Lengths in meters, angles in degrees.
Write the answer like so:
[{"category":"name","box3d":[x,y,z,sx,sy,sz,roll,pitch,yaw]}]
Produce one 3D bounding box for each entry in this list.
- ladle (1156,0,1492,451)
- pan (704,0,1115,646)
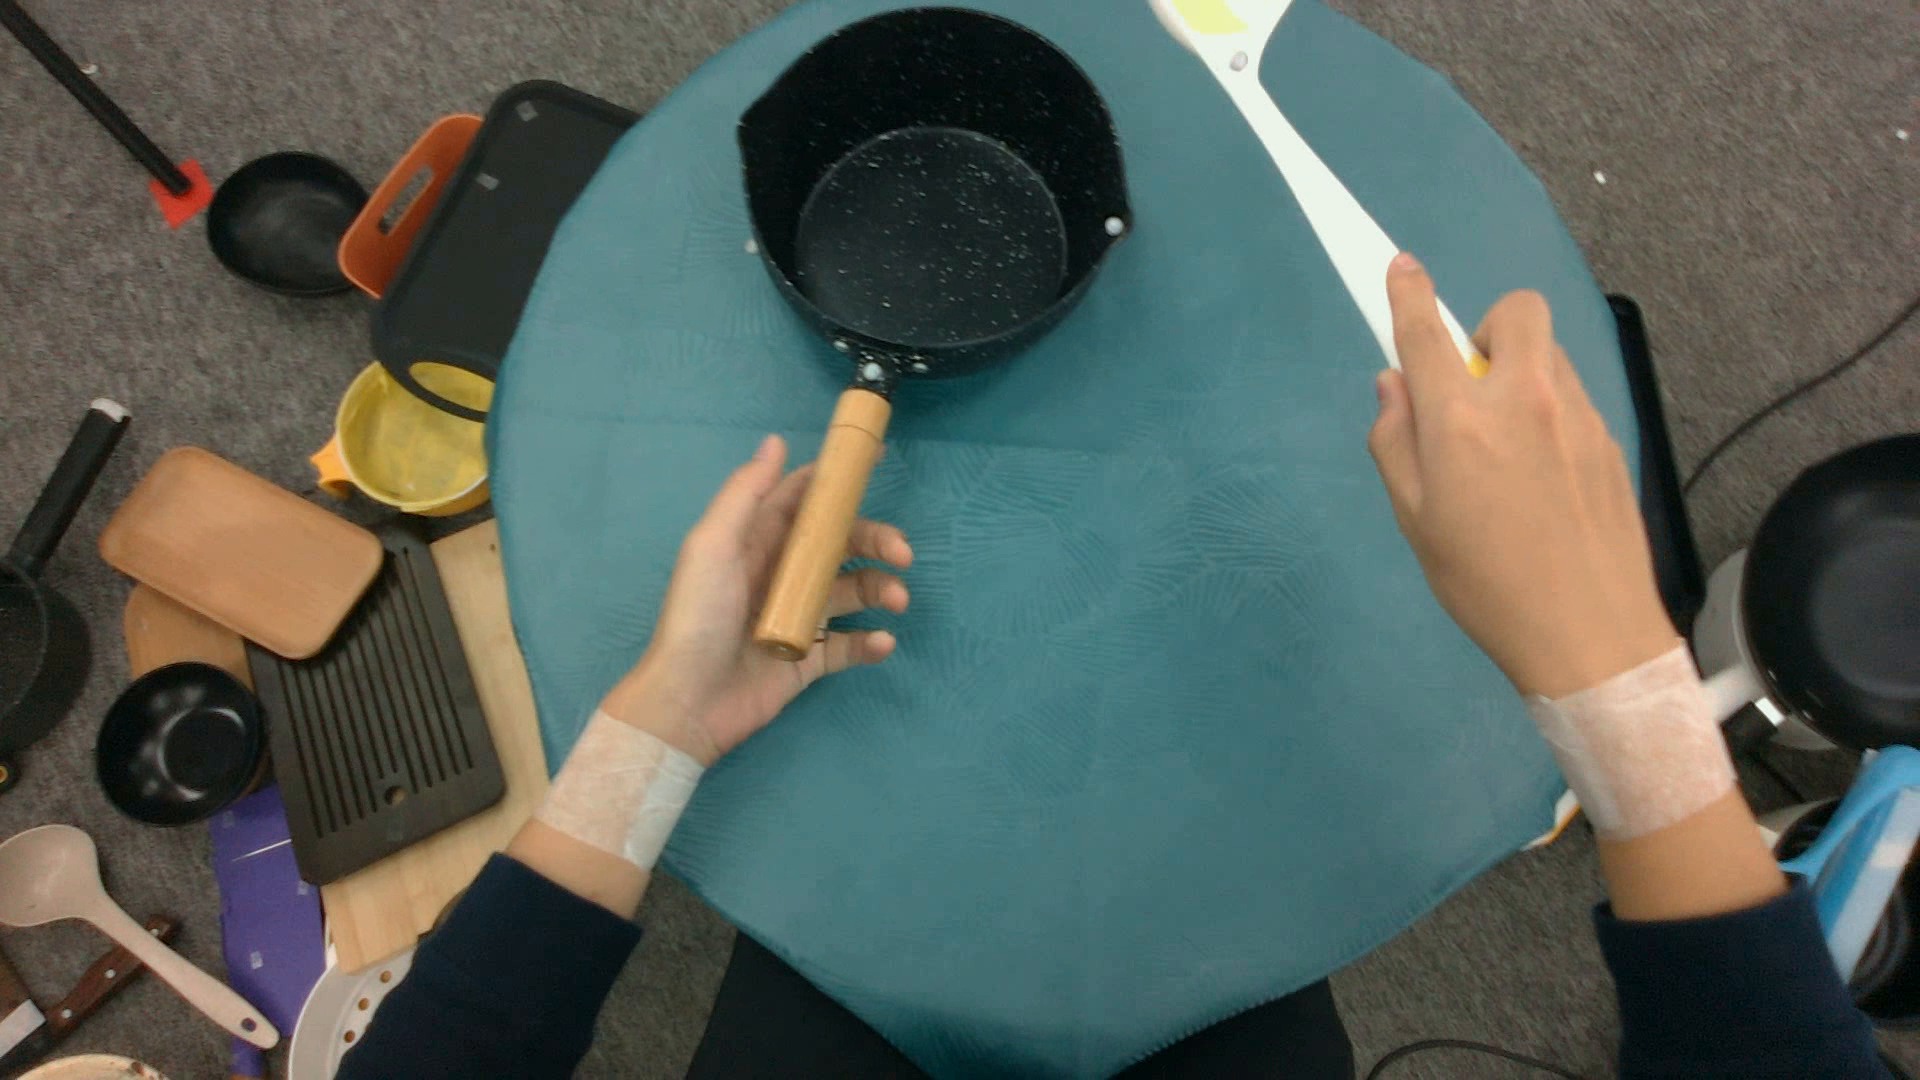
[{"category":"ladle","box3d":[0.151,-0.174,0.578,0.090,0.069,0.294,-2,57,-29]},{"category":"pan","box3d":[-0.042,-0.103,0.673,0.207,0.108,0.344,13,74,0]}]
